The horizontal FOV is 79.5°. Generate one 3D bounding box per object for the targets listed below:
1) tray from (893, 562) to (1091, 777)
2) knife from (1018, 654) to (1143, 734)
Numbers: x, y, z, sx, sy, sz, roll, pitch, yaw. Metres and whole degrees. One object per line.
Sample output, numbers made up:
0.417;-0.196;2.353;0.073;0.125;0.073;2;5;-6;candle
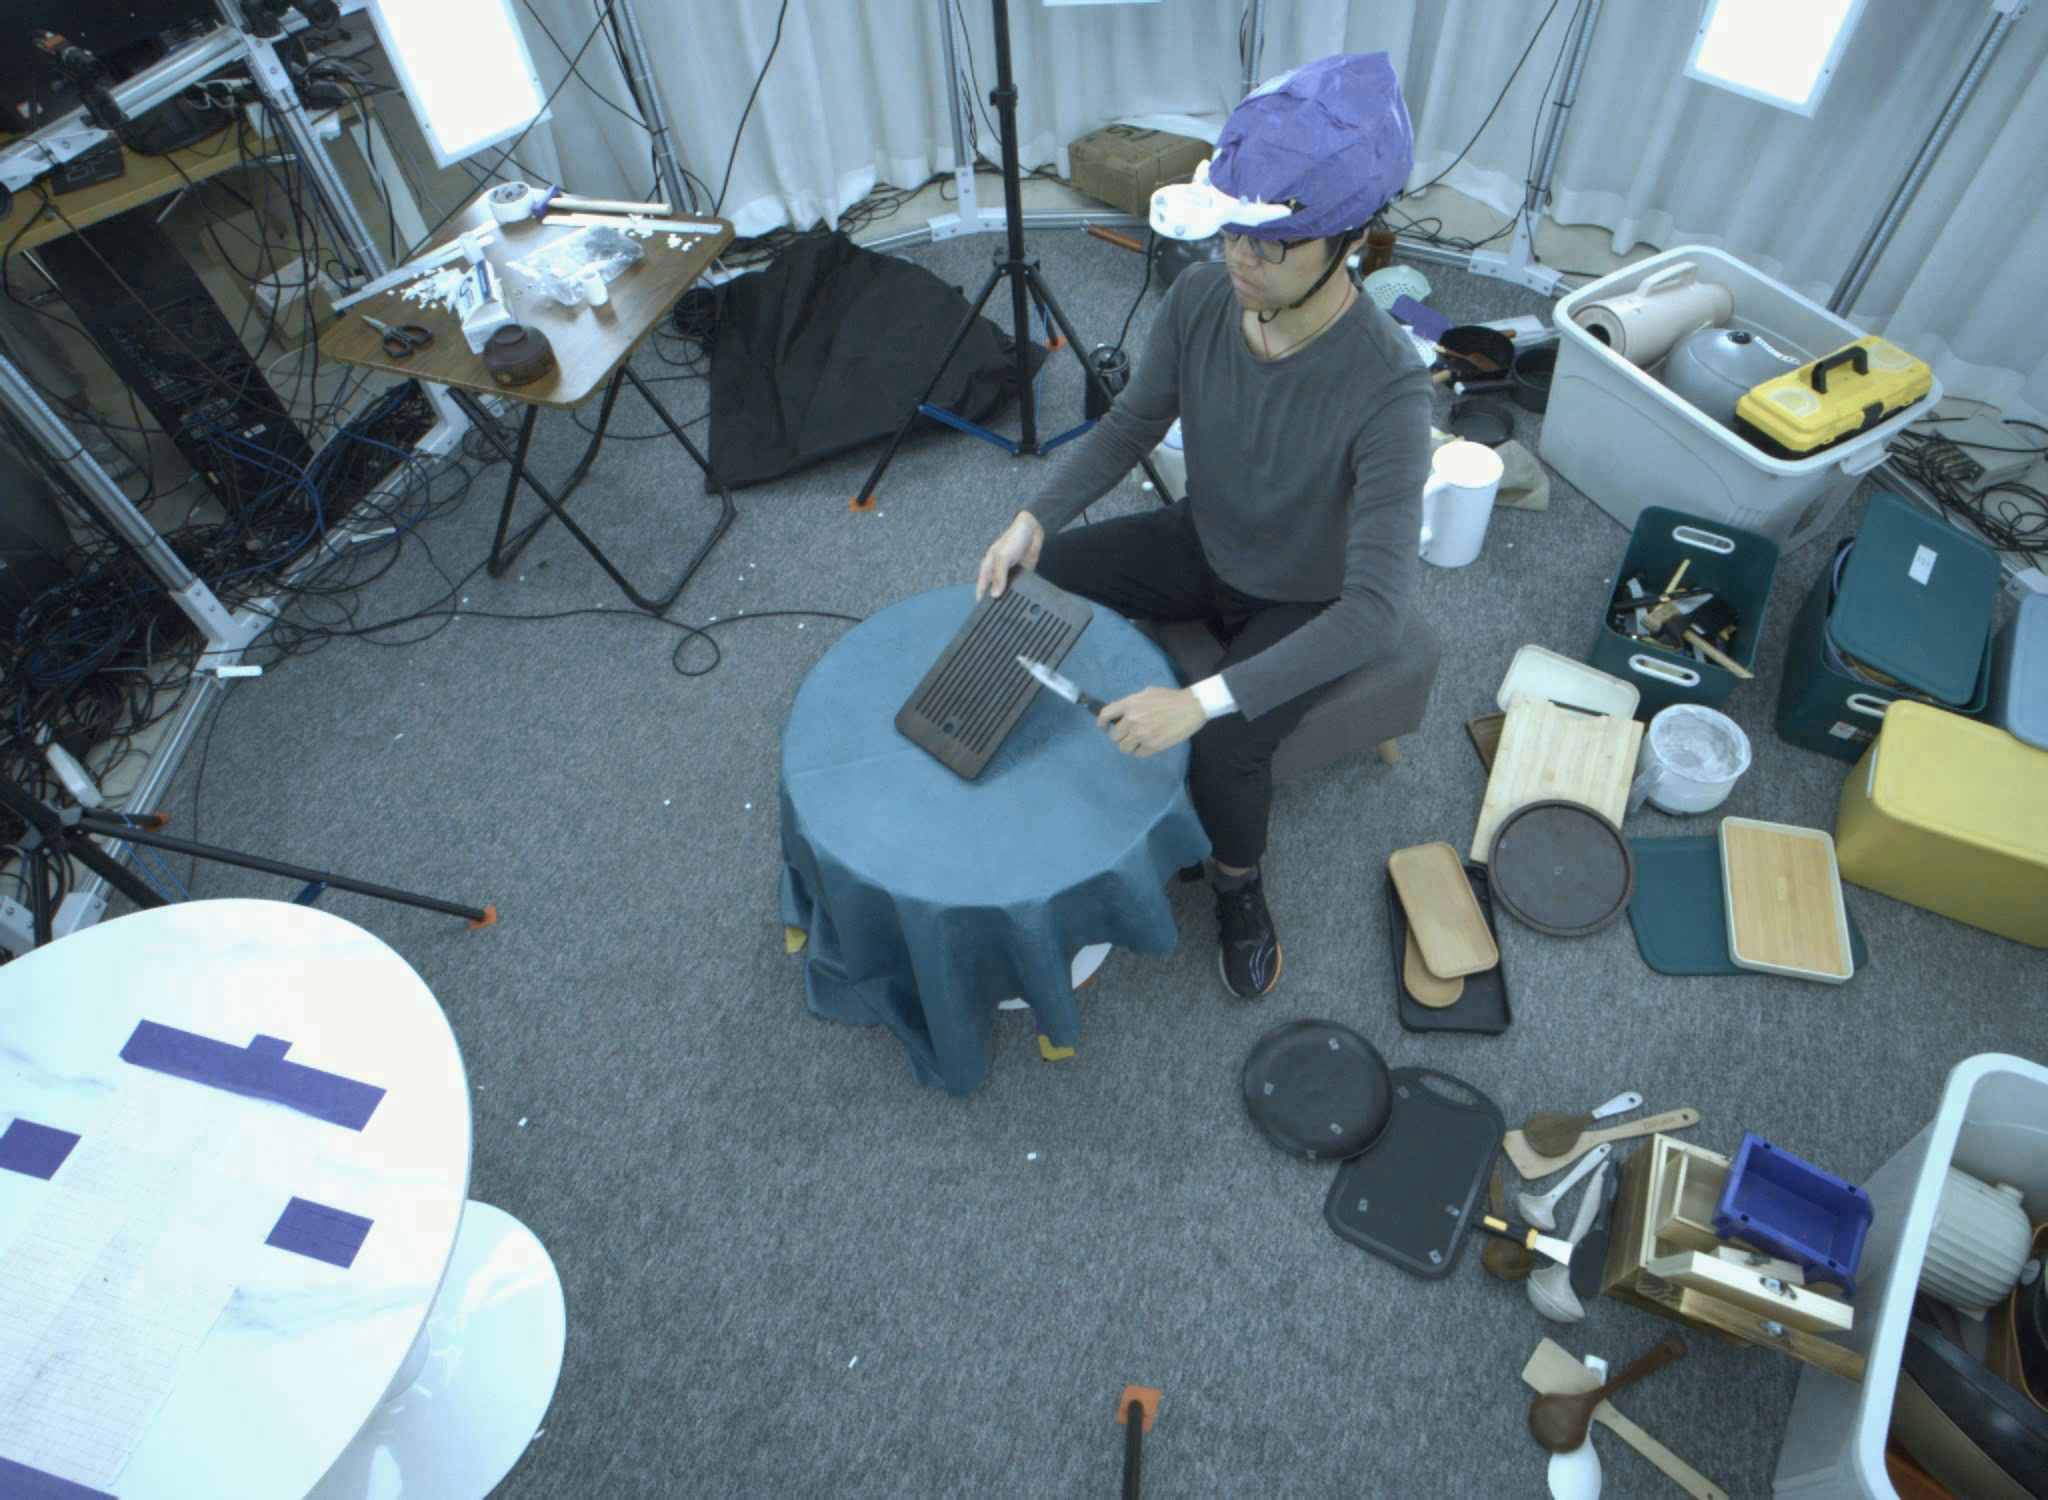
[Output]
-0.048;-0.120;1.801;0.167;0.019;0.306;34;86;25;tray
0.076;-0.085;1.729;0.233;0.016;0.024;34;104;30;knife
